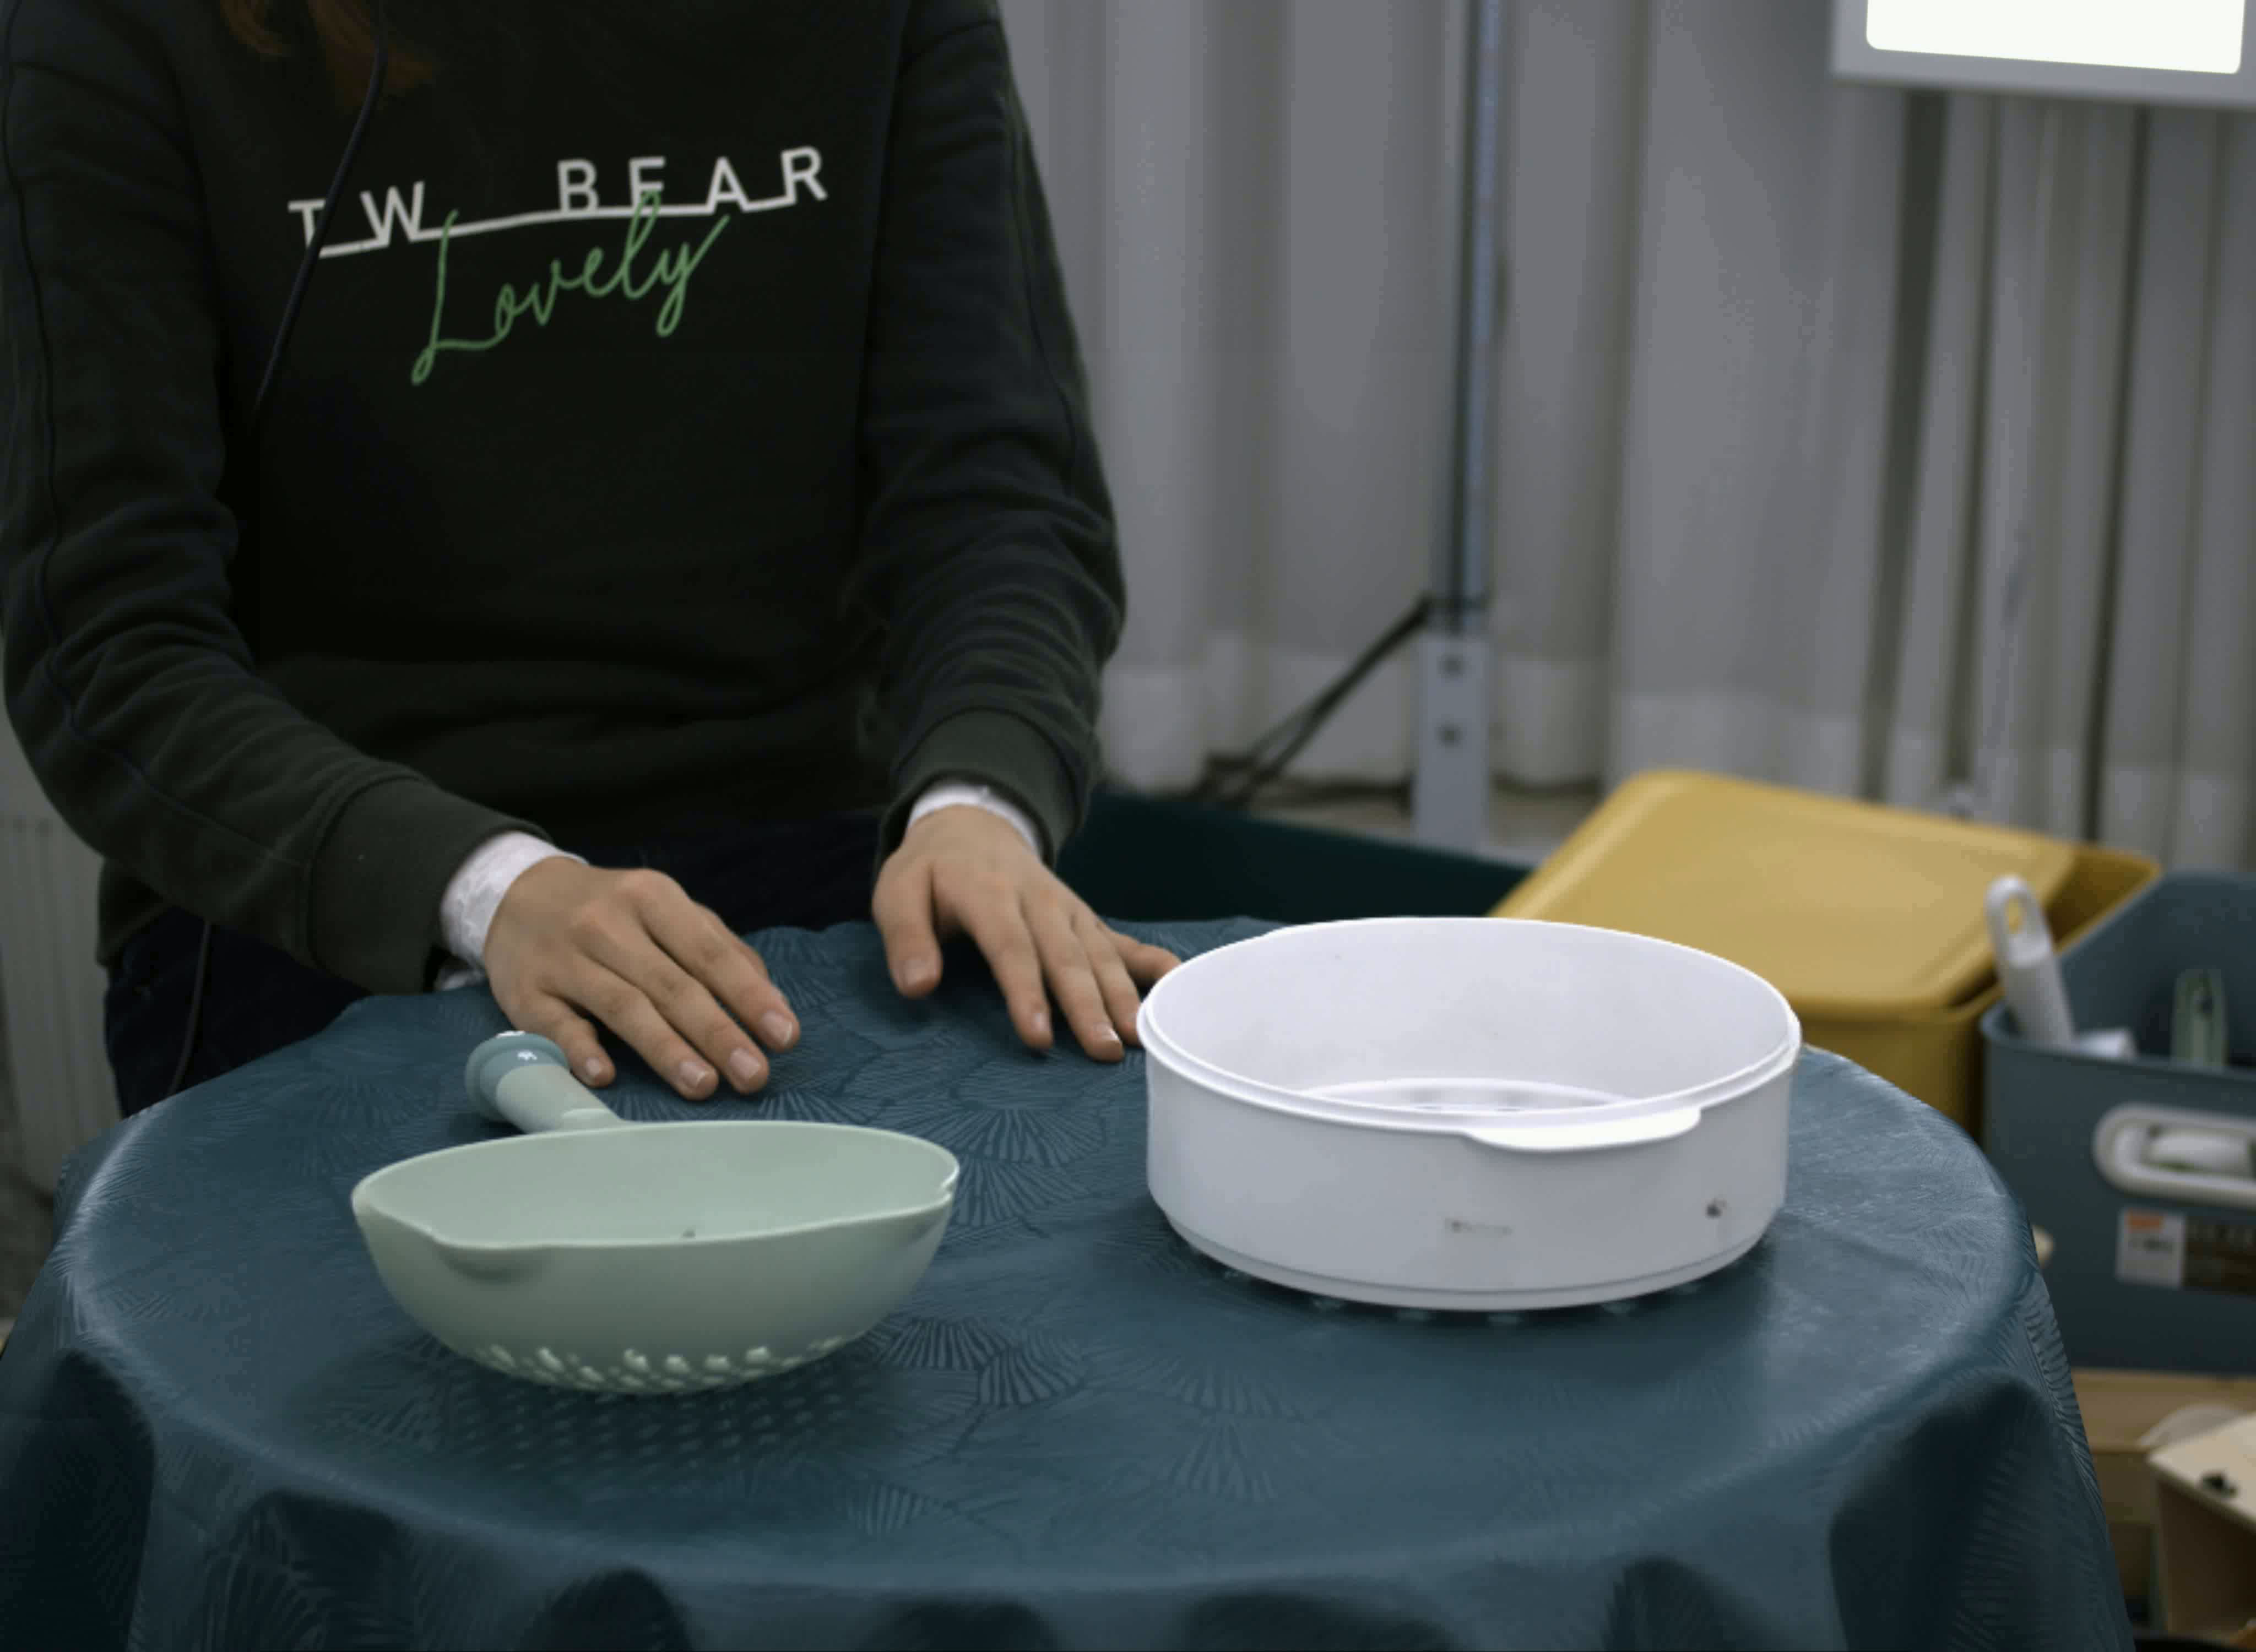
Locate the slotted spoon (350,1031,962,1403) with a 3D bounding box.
[{"bbox_3d":[-0.156,0.098,1.551,0.169,0.076,0.355,-3,16,-16],"label":"slotted spoon"}]

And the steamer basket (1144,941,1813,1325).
[{"bbox_3d":[0.104,0.092,1.591,0.202,0.070,0.228,-3,15,-18],"label":"steamer basket"}]
